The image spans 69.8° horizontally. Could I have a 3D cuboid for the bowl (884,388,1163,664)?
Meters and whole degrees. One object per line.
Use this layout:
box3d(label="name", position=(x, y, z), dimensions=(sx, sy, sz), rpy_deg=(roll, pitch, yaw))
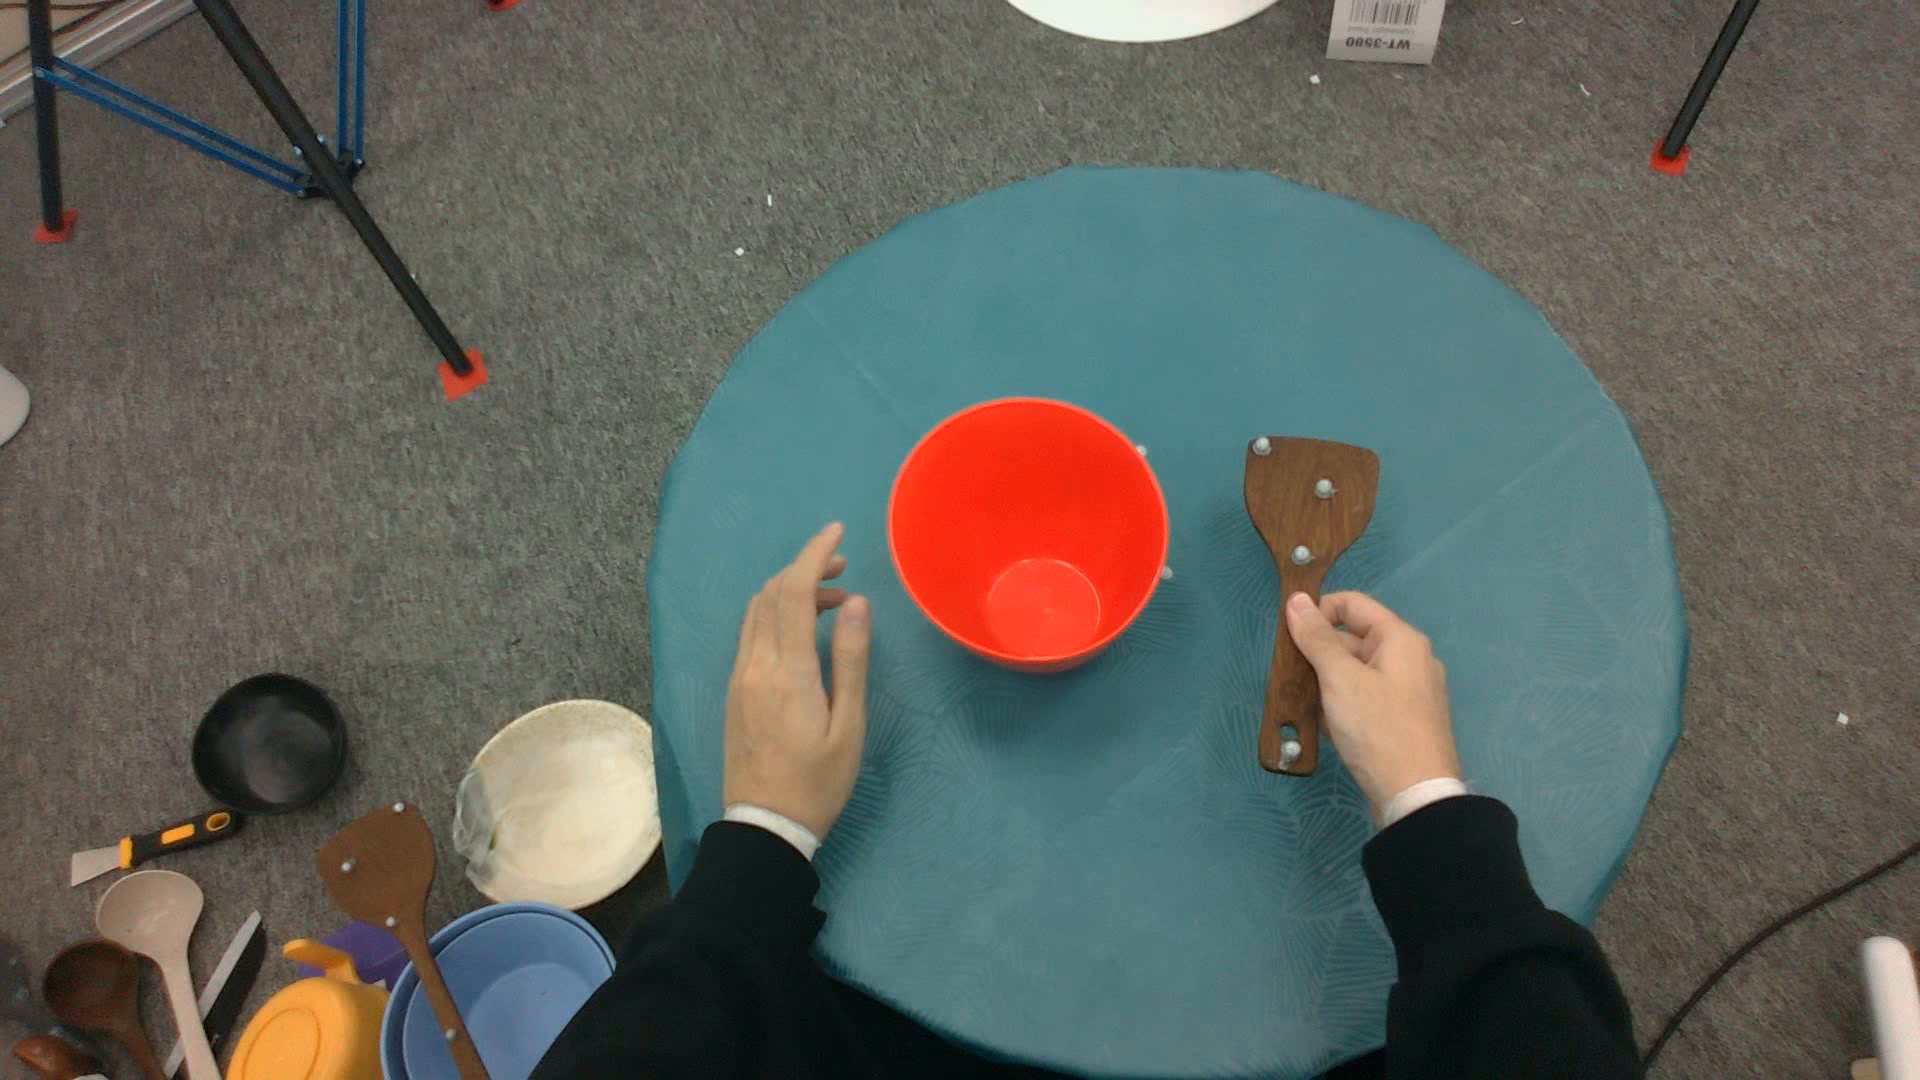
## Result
box3d(label="bowl", position=(0.036, 0.005, 0.759), dimensions=(0.148, 0.104, 0.148), rpy_deg=(-1, 63, 2))

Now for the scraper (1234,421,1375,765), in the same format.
box3d(label="scraper", position=(0.174, 0.022, 0.718), dimensions=(0.076, 0.011, 0.212), rpy_deg=(9, 55, 8))
